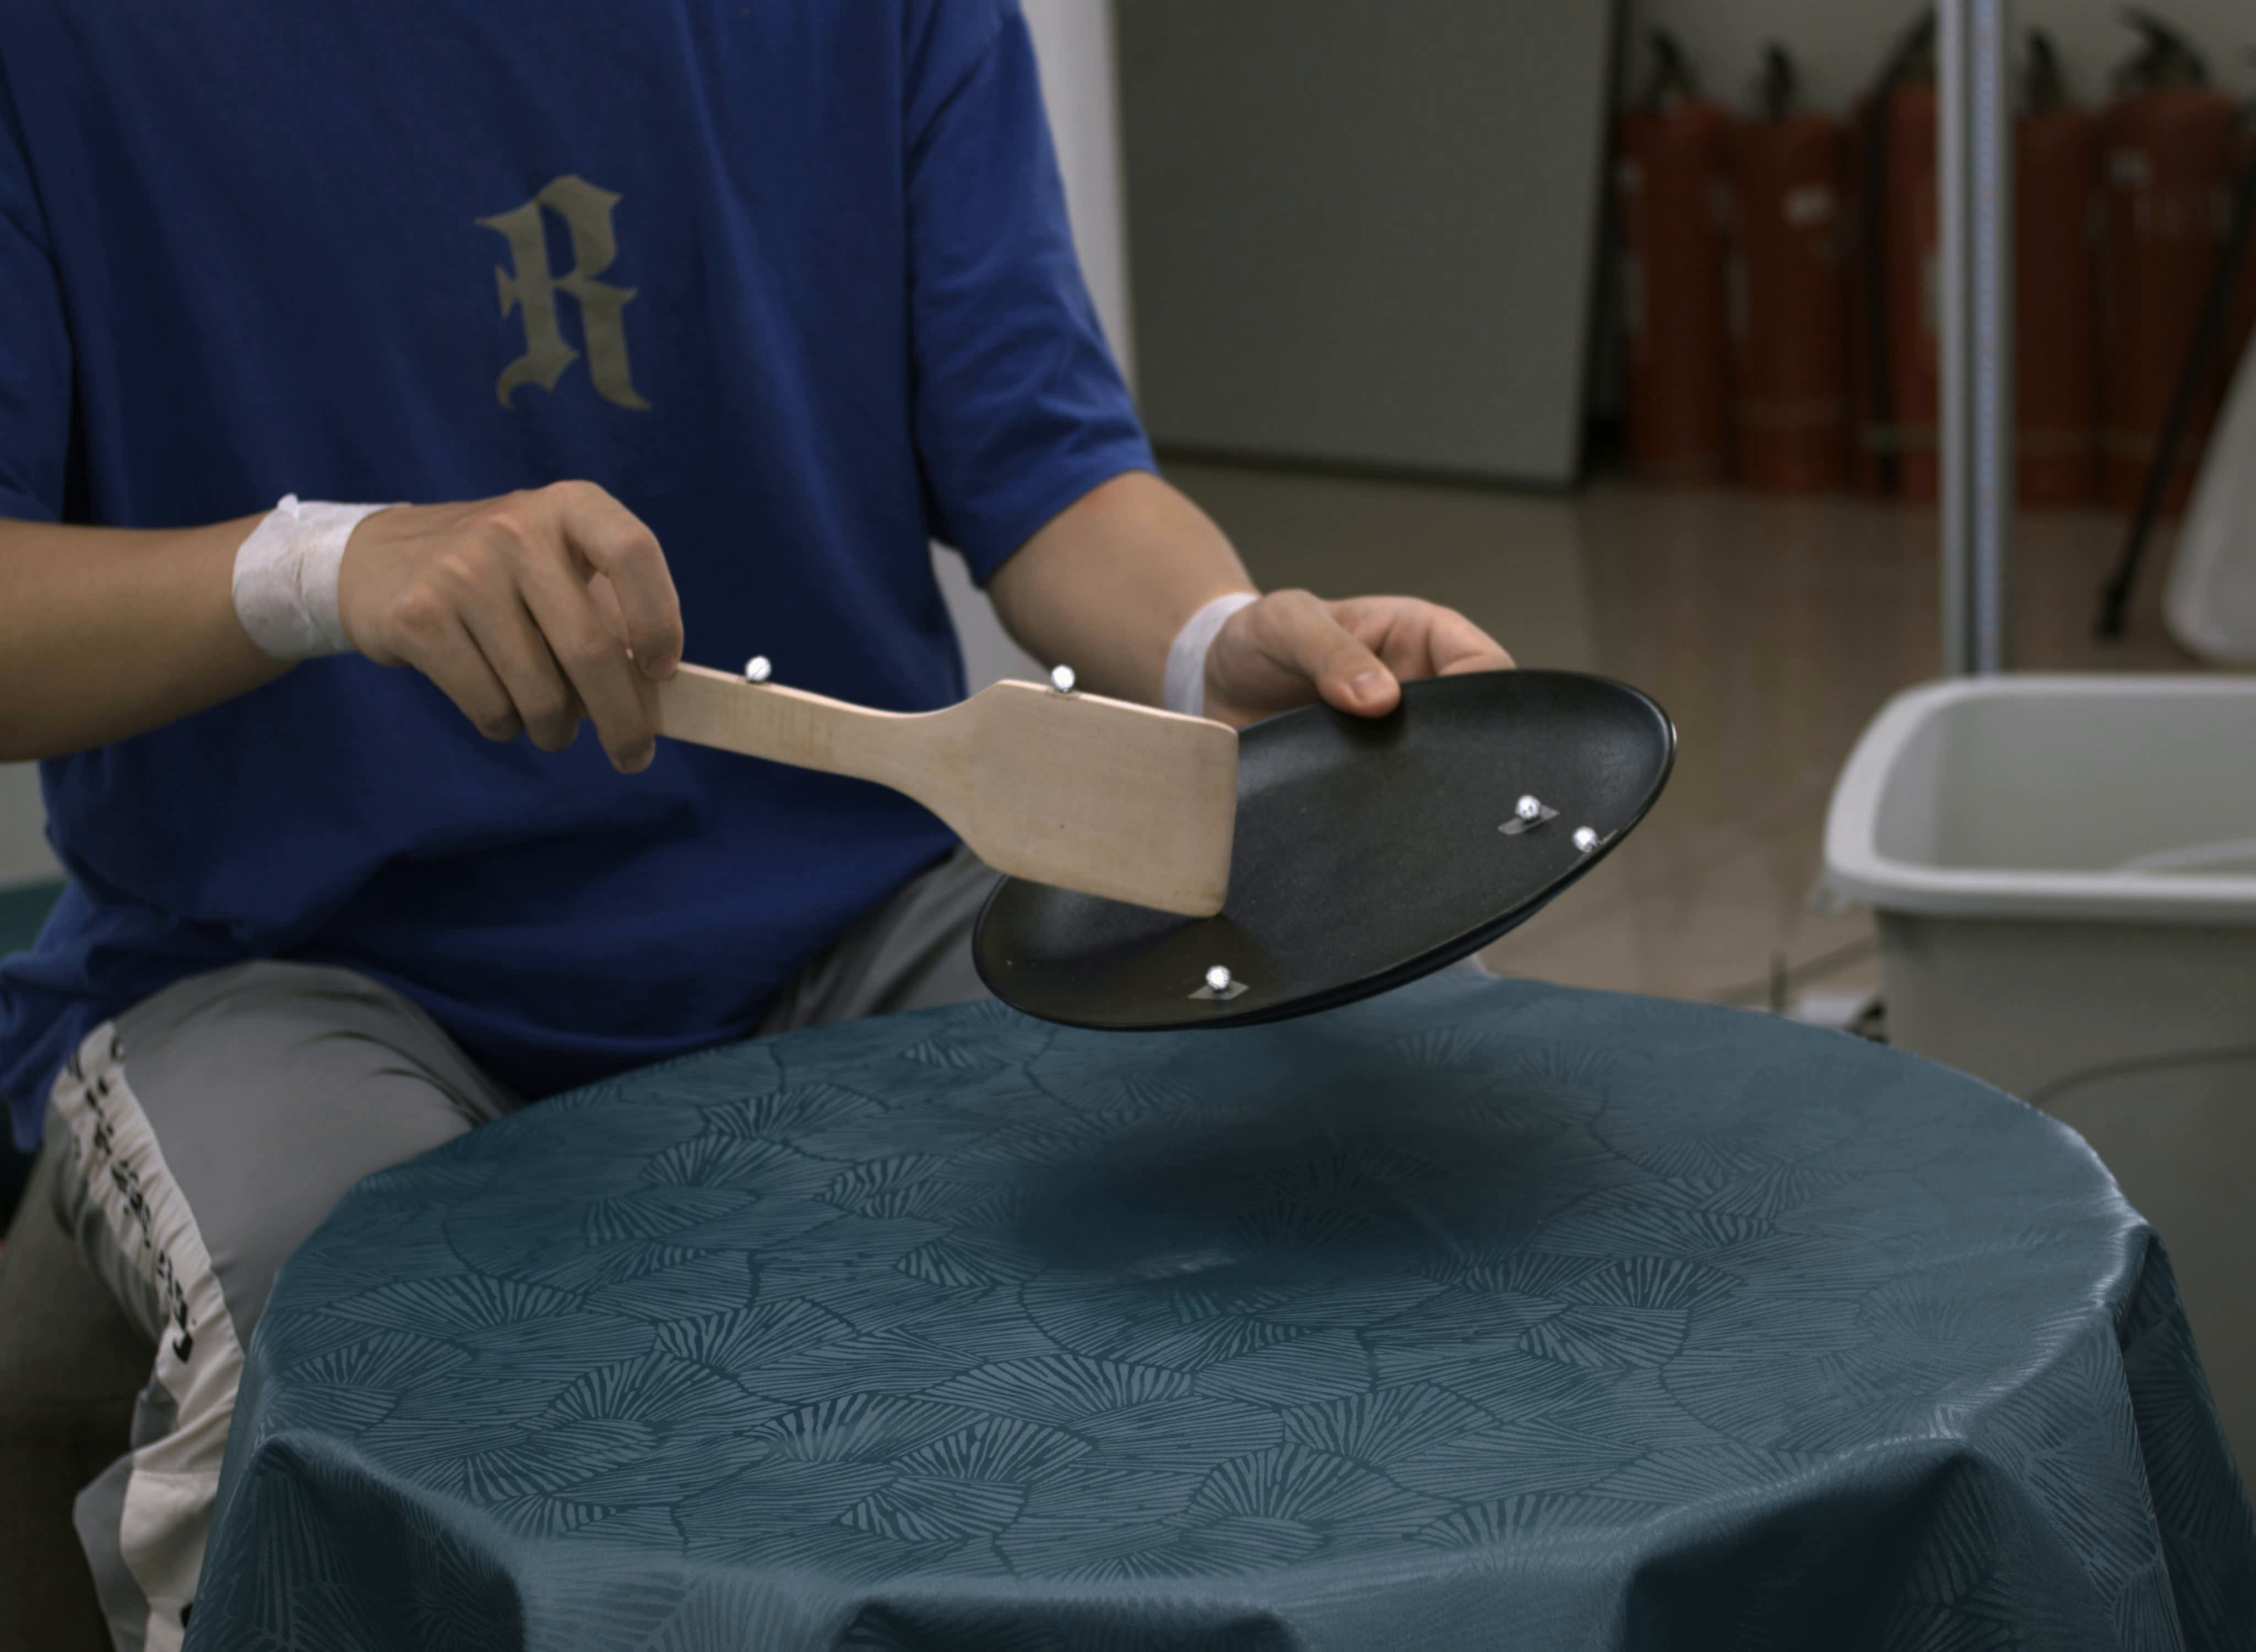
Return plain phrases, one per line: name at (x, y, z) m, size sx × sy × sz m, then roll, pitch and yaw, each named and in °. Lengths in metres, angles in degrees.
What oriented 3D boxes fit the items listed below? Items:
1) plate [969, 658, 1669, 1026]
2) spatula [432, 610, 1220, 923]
plate at (0.064, 0.010, 1.765) m, size 0.242 × 0.023 × 0.245 m, roll -19°, pitch 21°, yaw 6°
spatula at (-0.105, -0.032, 1.796) m, size 0.293 × 0.073 × 0.010 m, roll 14°, pitch 25°, yaw 21°
